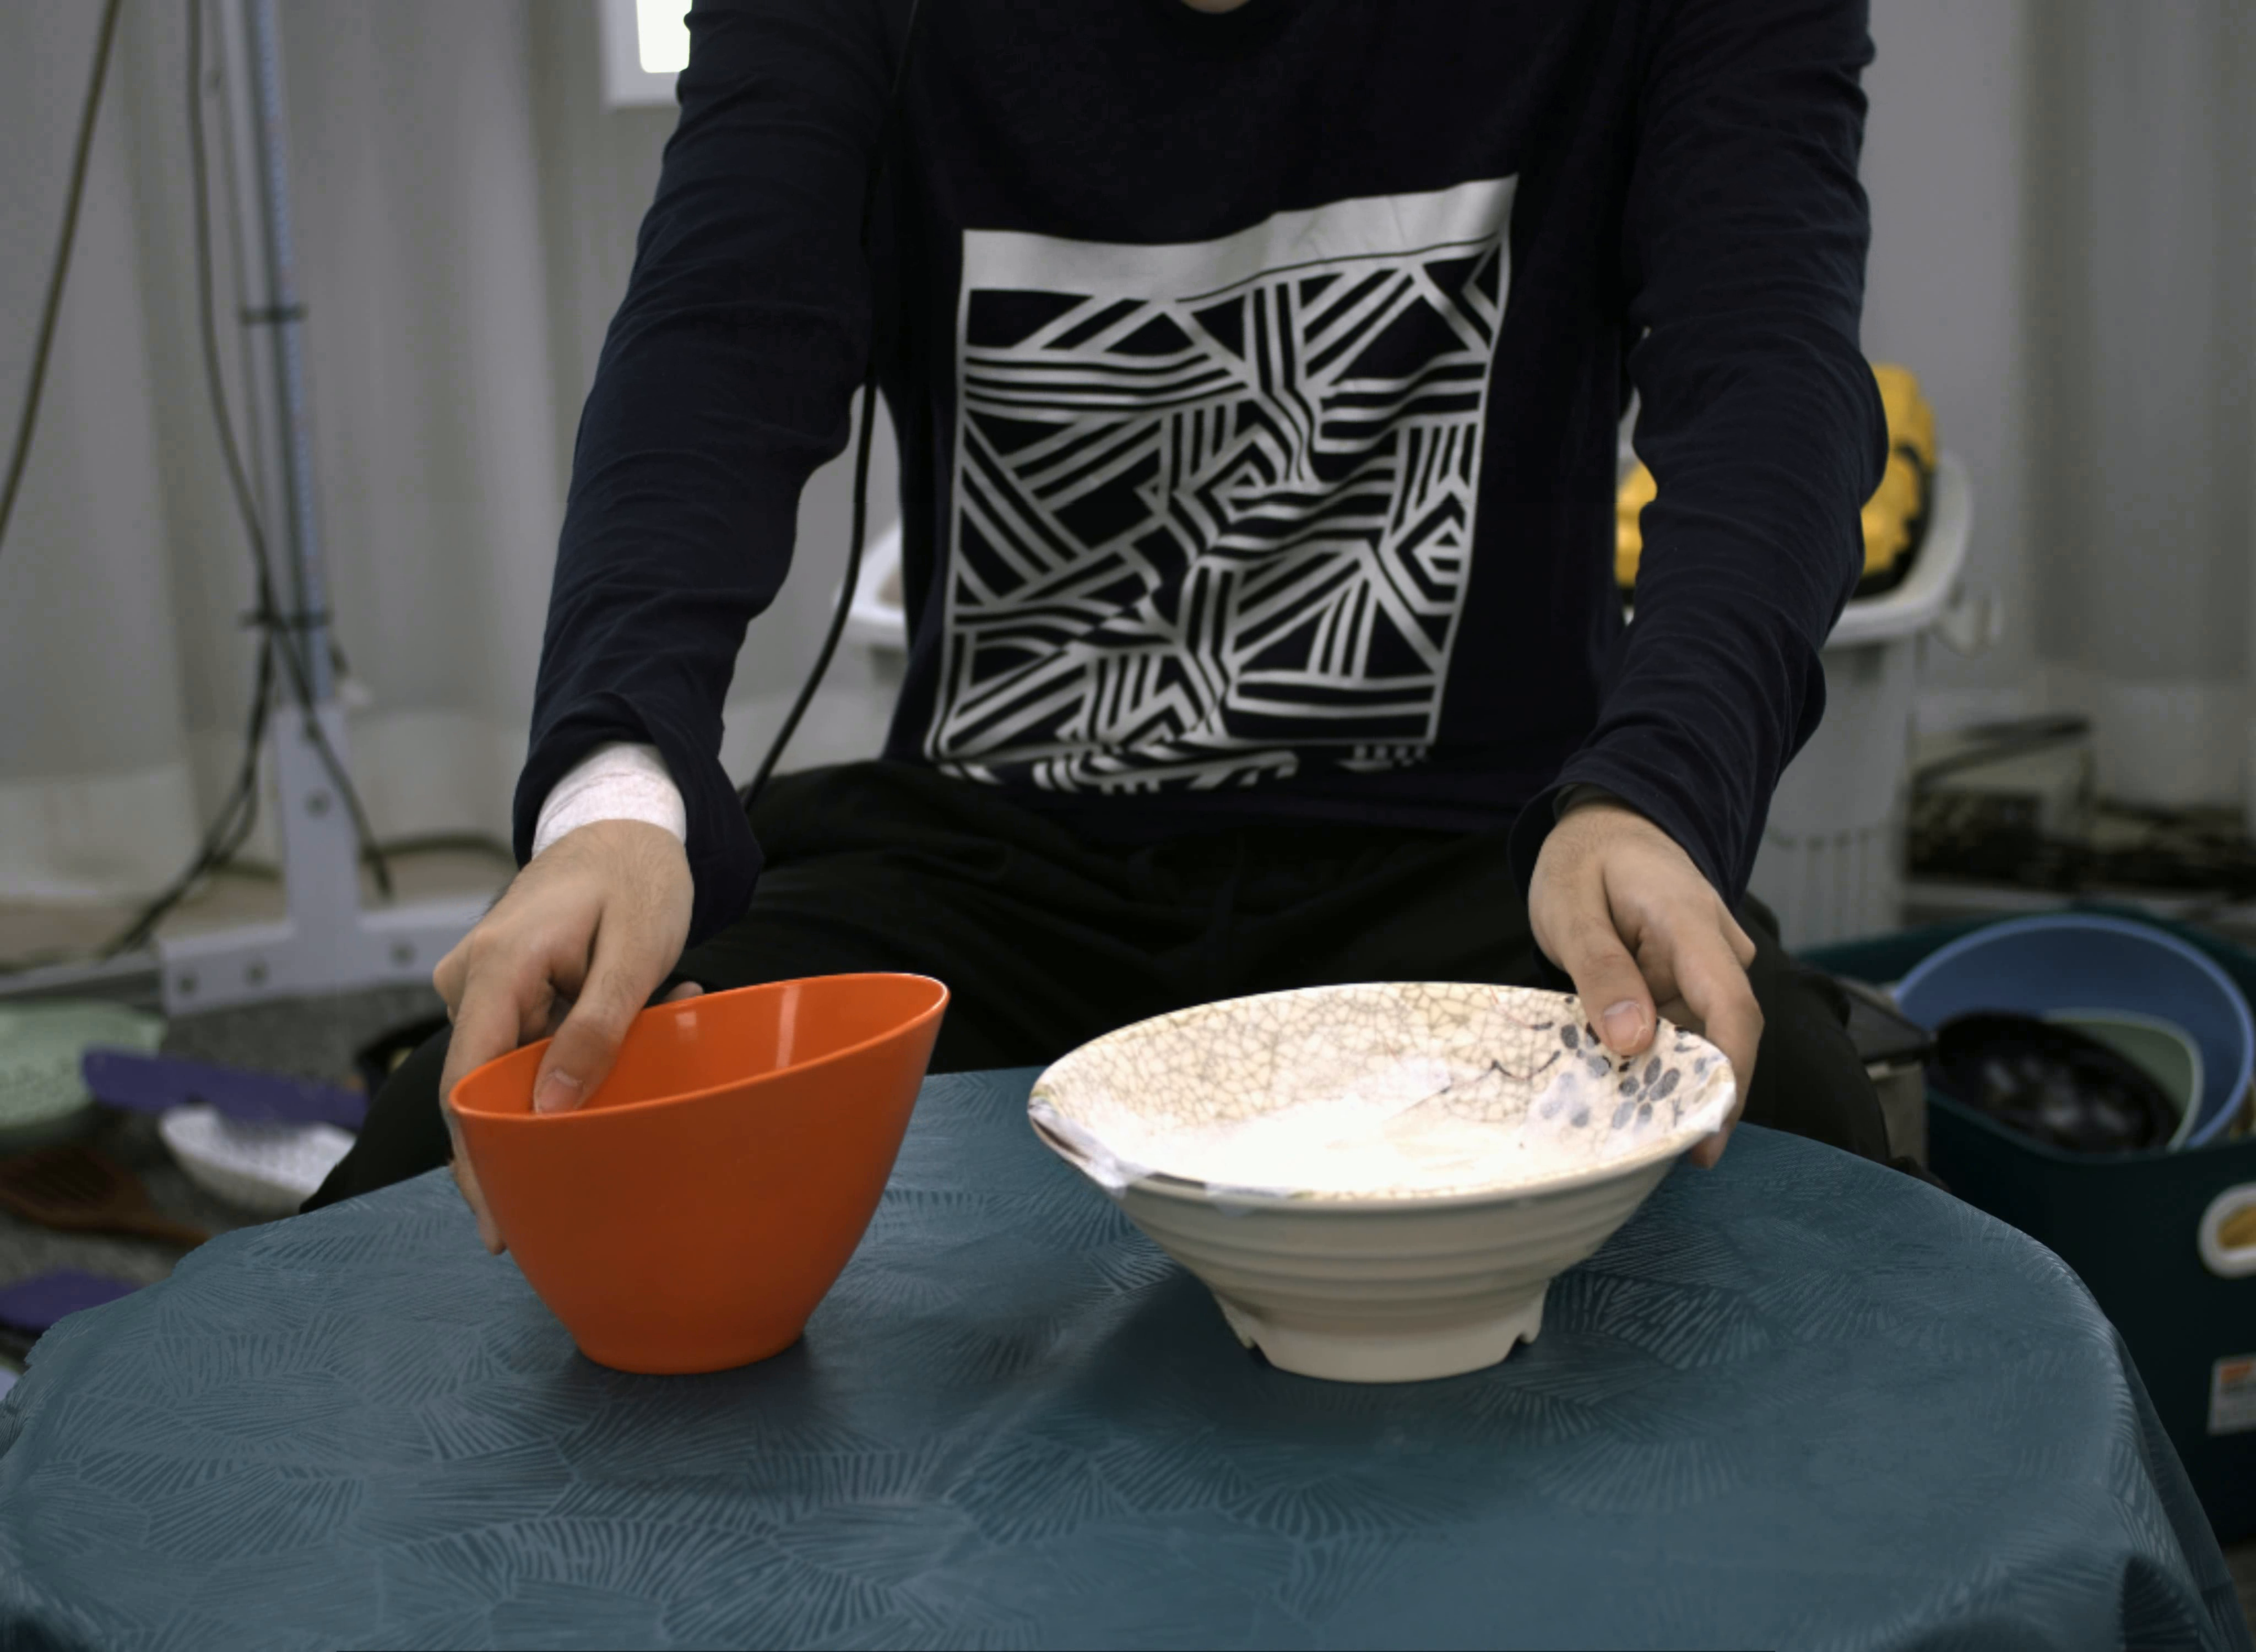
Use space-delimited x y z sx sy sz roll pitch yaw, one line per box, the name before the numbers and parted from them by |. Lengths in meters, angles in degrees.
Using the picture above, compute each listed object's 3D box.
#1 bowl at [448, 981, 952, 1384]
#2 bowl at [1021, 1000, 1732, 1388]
bowl | -0.121 0.104 1.589 0.147 0.104 0.149 -4 13 1
bowl | 0.071 0.112 1.571 0.203 0.078 0.205 -1 12 0
